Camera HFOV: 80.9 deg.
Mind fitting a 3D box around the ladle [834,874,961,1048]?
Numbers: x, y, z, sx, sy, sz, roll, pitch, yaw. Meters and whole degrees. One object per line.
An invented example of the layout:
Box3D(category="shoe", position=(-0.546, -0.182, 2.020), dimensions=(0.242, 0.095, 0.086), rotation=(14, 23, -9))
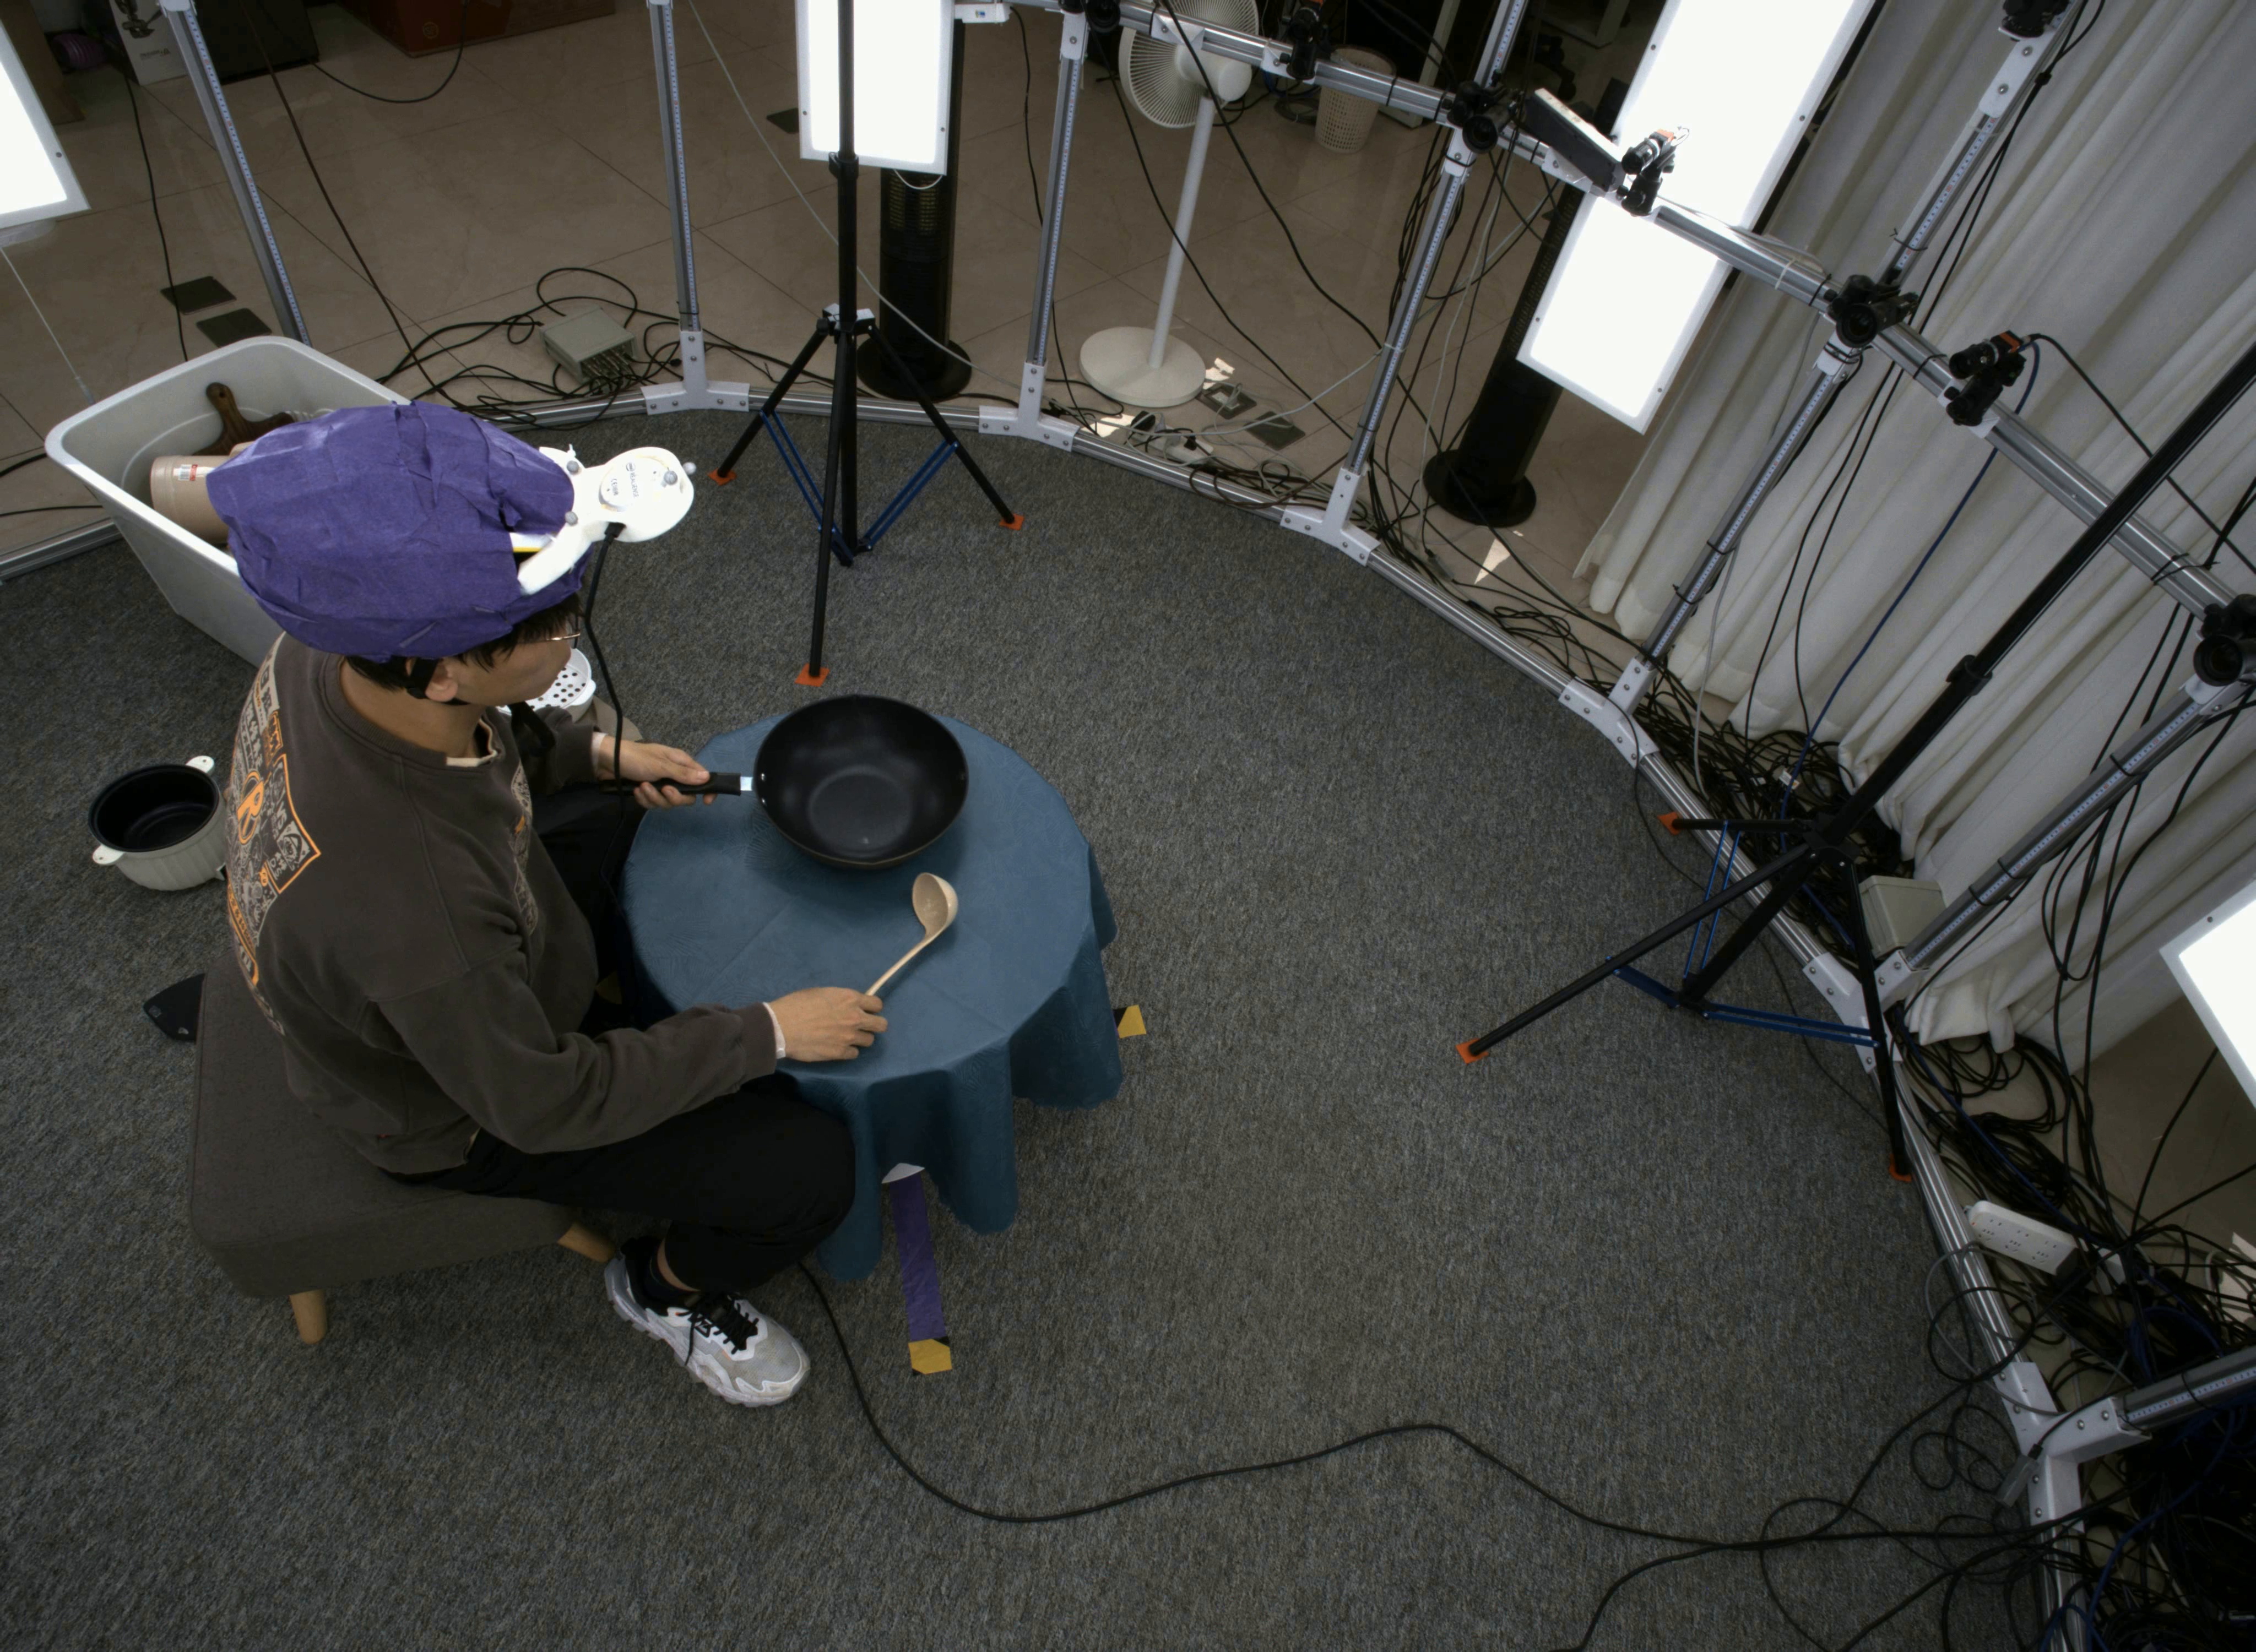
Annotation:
Box3D(category="ladle", position=(-0.296, 0.156, 1.599), dimensions=(0.070, 0.075, 0.254), rotation=(2, 37, 36))

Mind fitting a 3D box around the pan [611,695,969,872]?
Box3D(category="pan", position=(-0.440, -0.039, 1.709), dimensions=(0.464, 0.088, 0.282), rotation=(-3, 55, -15))
